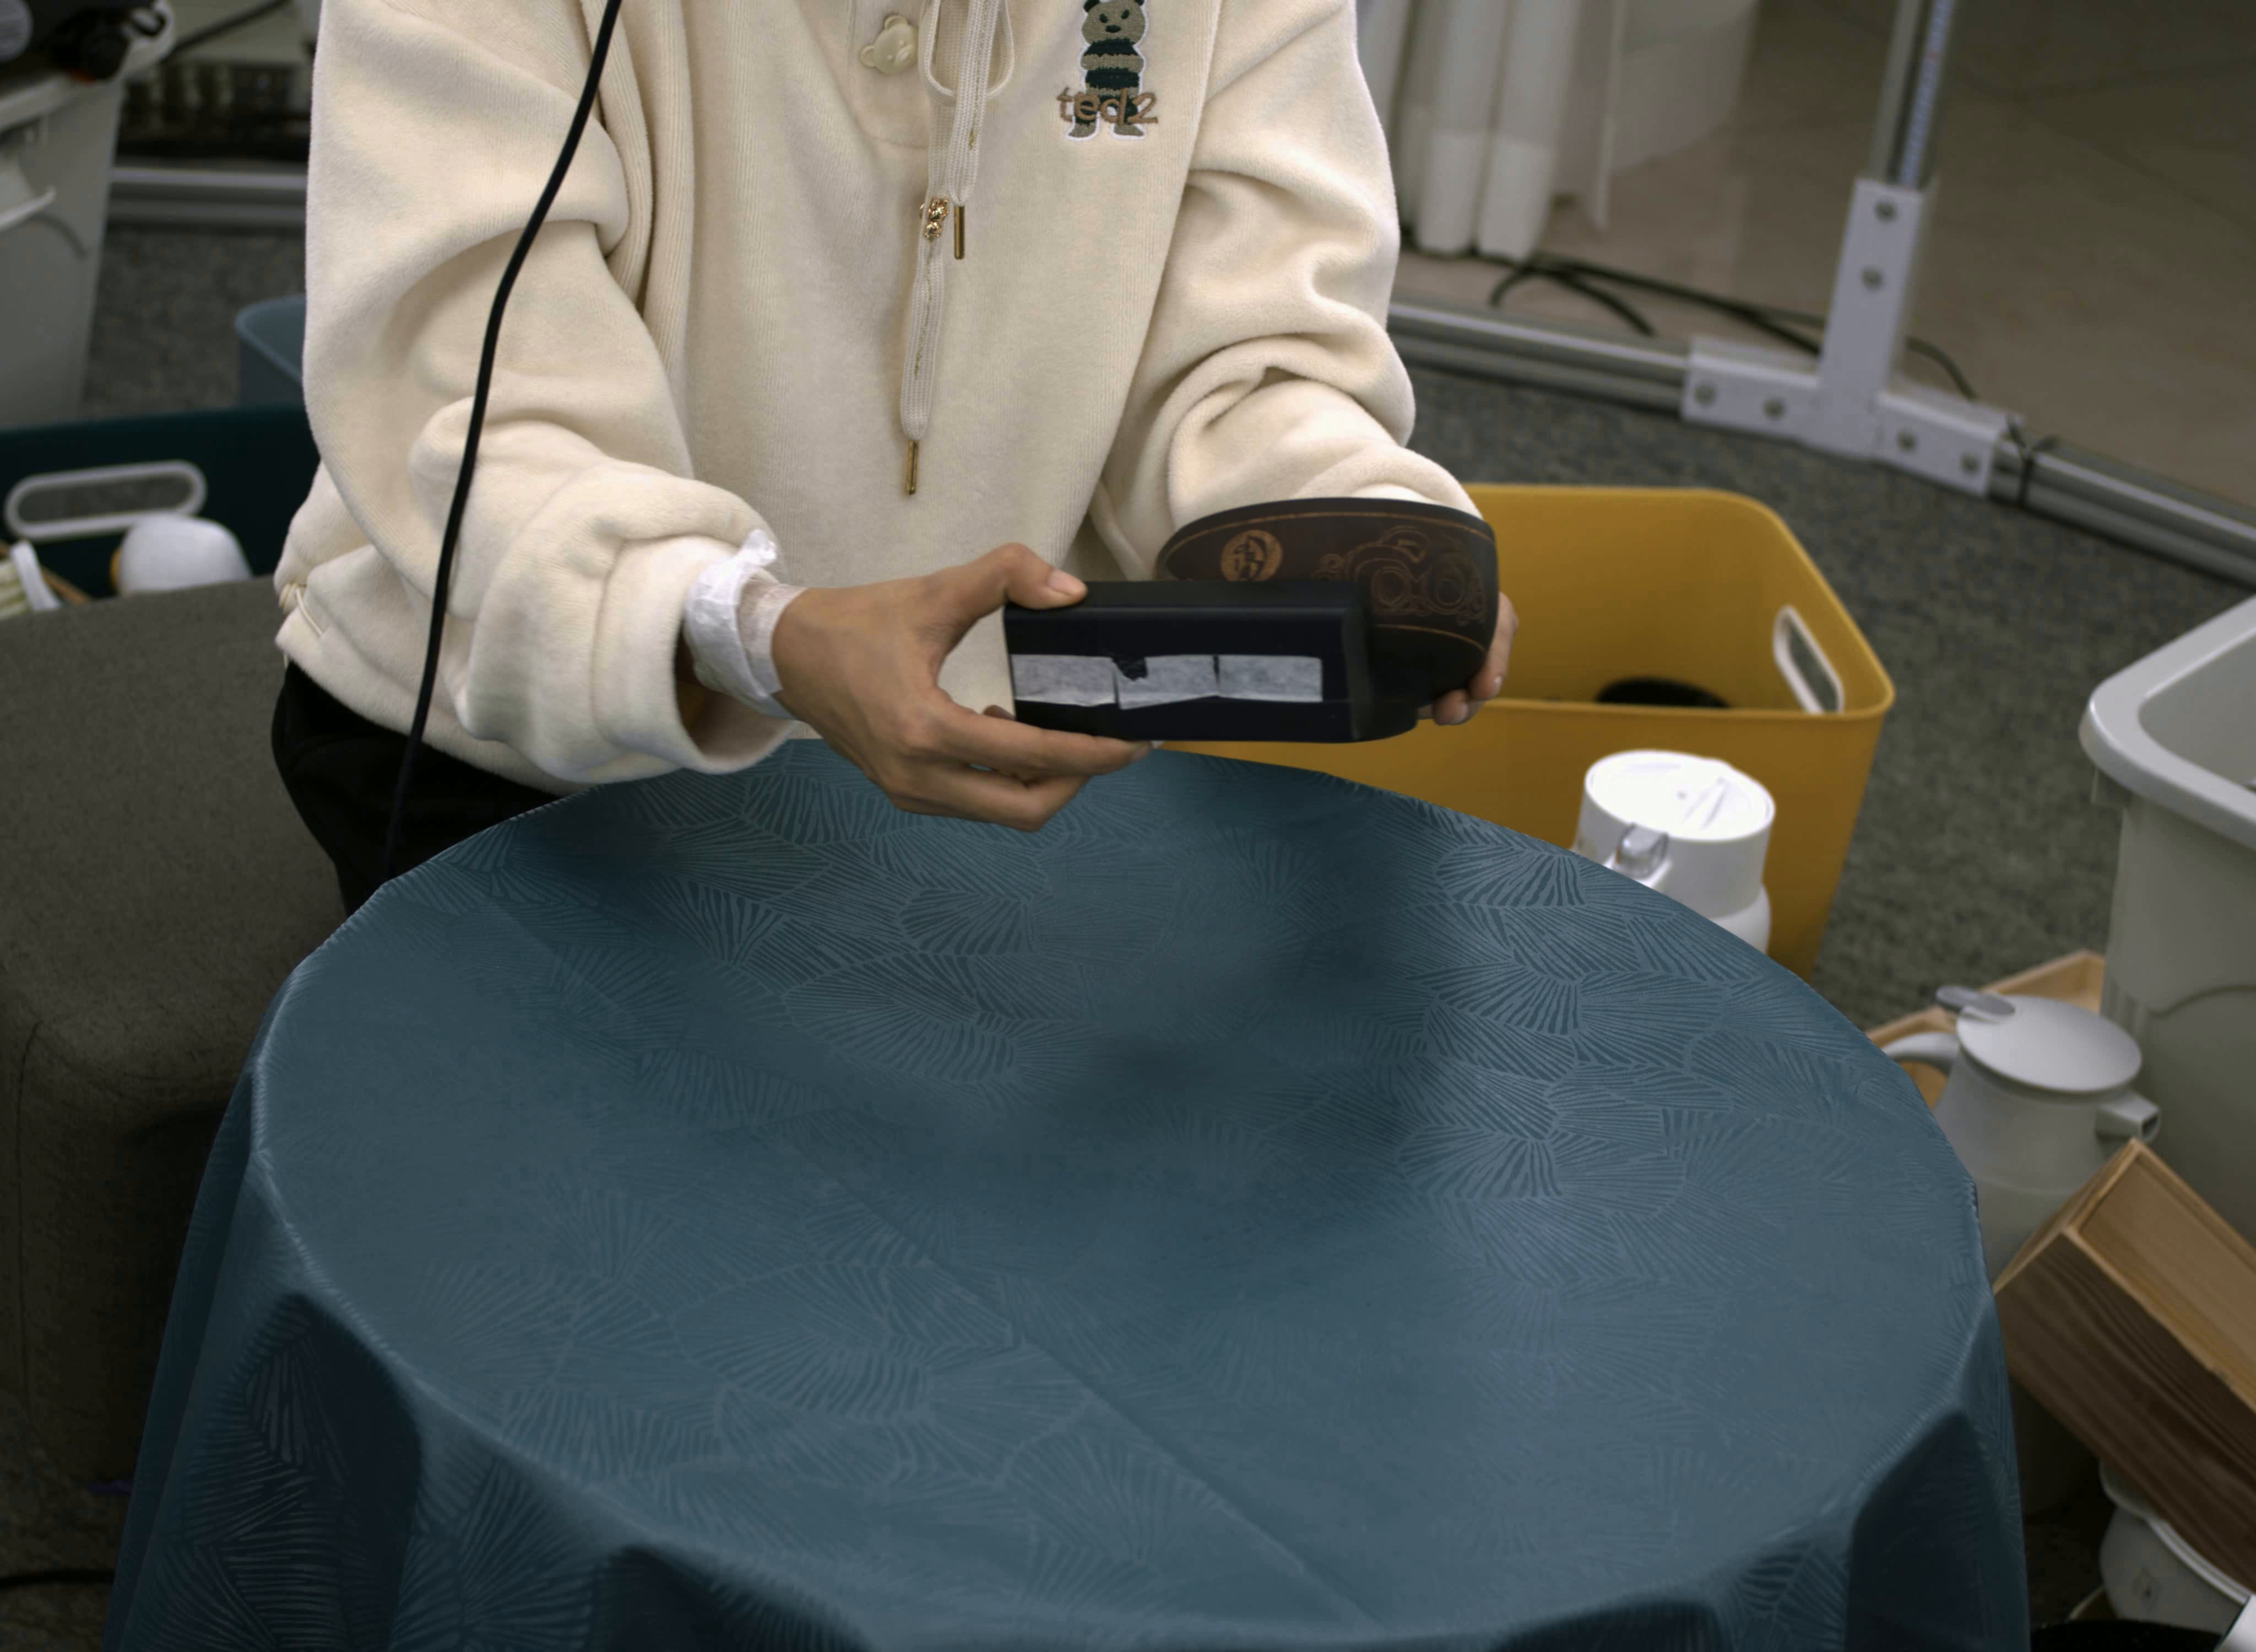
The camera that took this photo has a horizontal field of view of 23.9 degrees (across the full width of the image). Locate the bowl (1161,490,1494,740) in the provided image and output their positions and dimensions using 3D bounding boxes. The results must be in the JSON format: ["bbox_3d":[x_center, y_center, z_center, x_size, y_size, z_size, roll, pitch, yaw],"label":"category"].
[{"bbox_3d":[0.070,-0.070,1.875,0.117,0.070,0.117,0,-13,0],"label":"bowl"}]

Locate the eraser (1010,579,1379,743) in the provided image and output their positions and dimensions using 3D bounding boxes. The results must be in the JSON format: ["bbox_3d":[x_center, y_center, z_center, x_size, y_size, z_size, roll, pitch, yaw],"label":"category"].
[{"bbox_3d":[0.023,-0.057,1.824,0.126,0.053,0.030,1,23,19],"label":"eraser"}]
